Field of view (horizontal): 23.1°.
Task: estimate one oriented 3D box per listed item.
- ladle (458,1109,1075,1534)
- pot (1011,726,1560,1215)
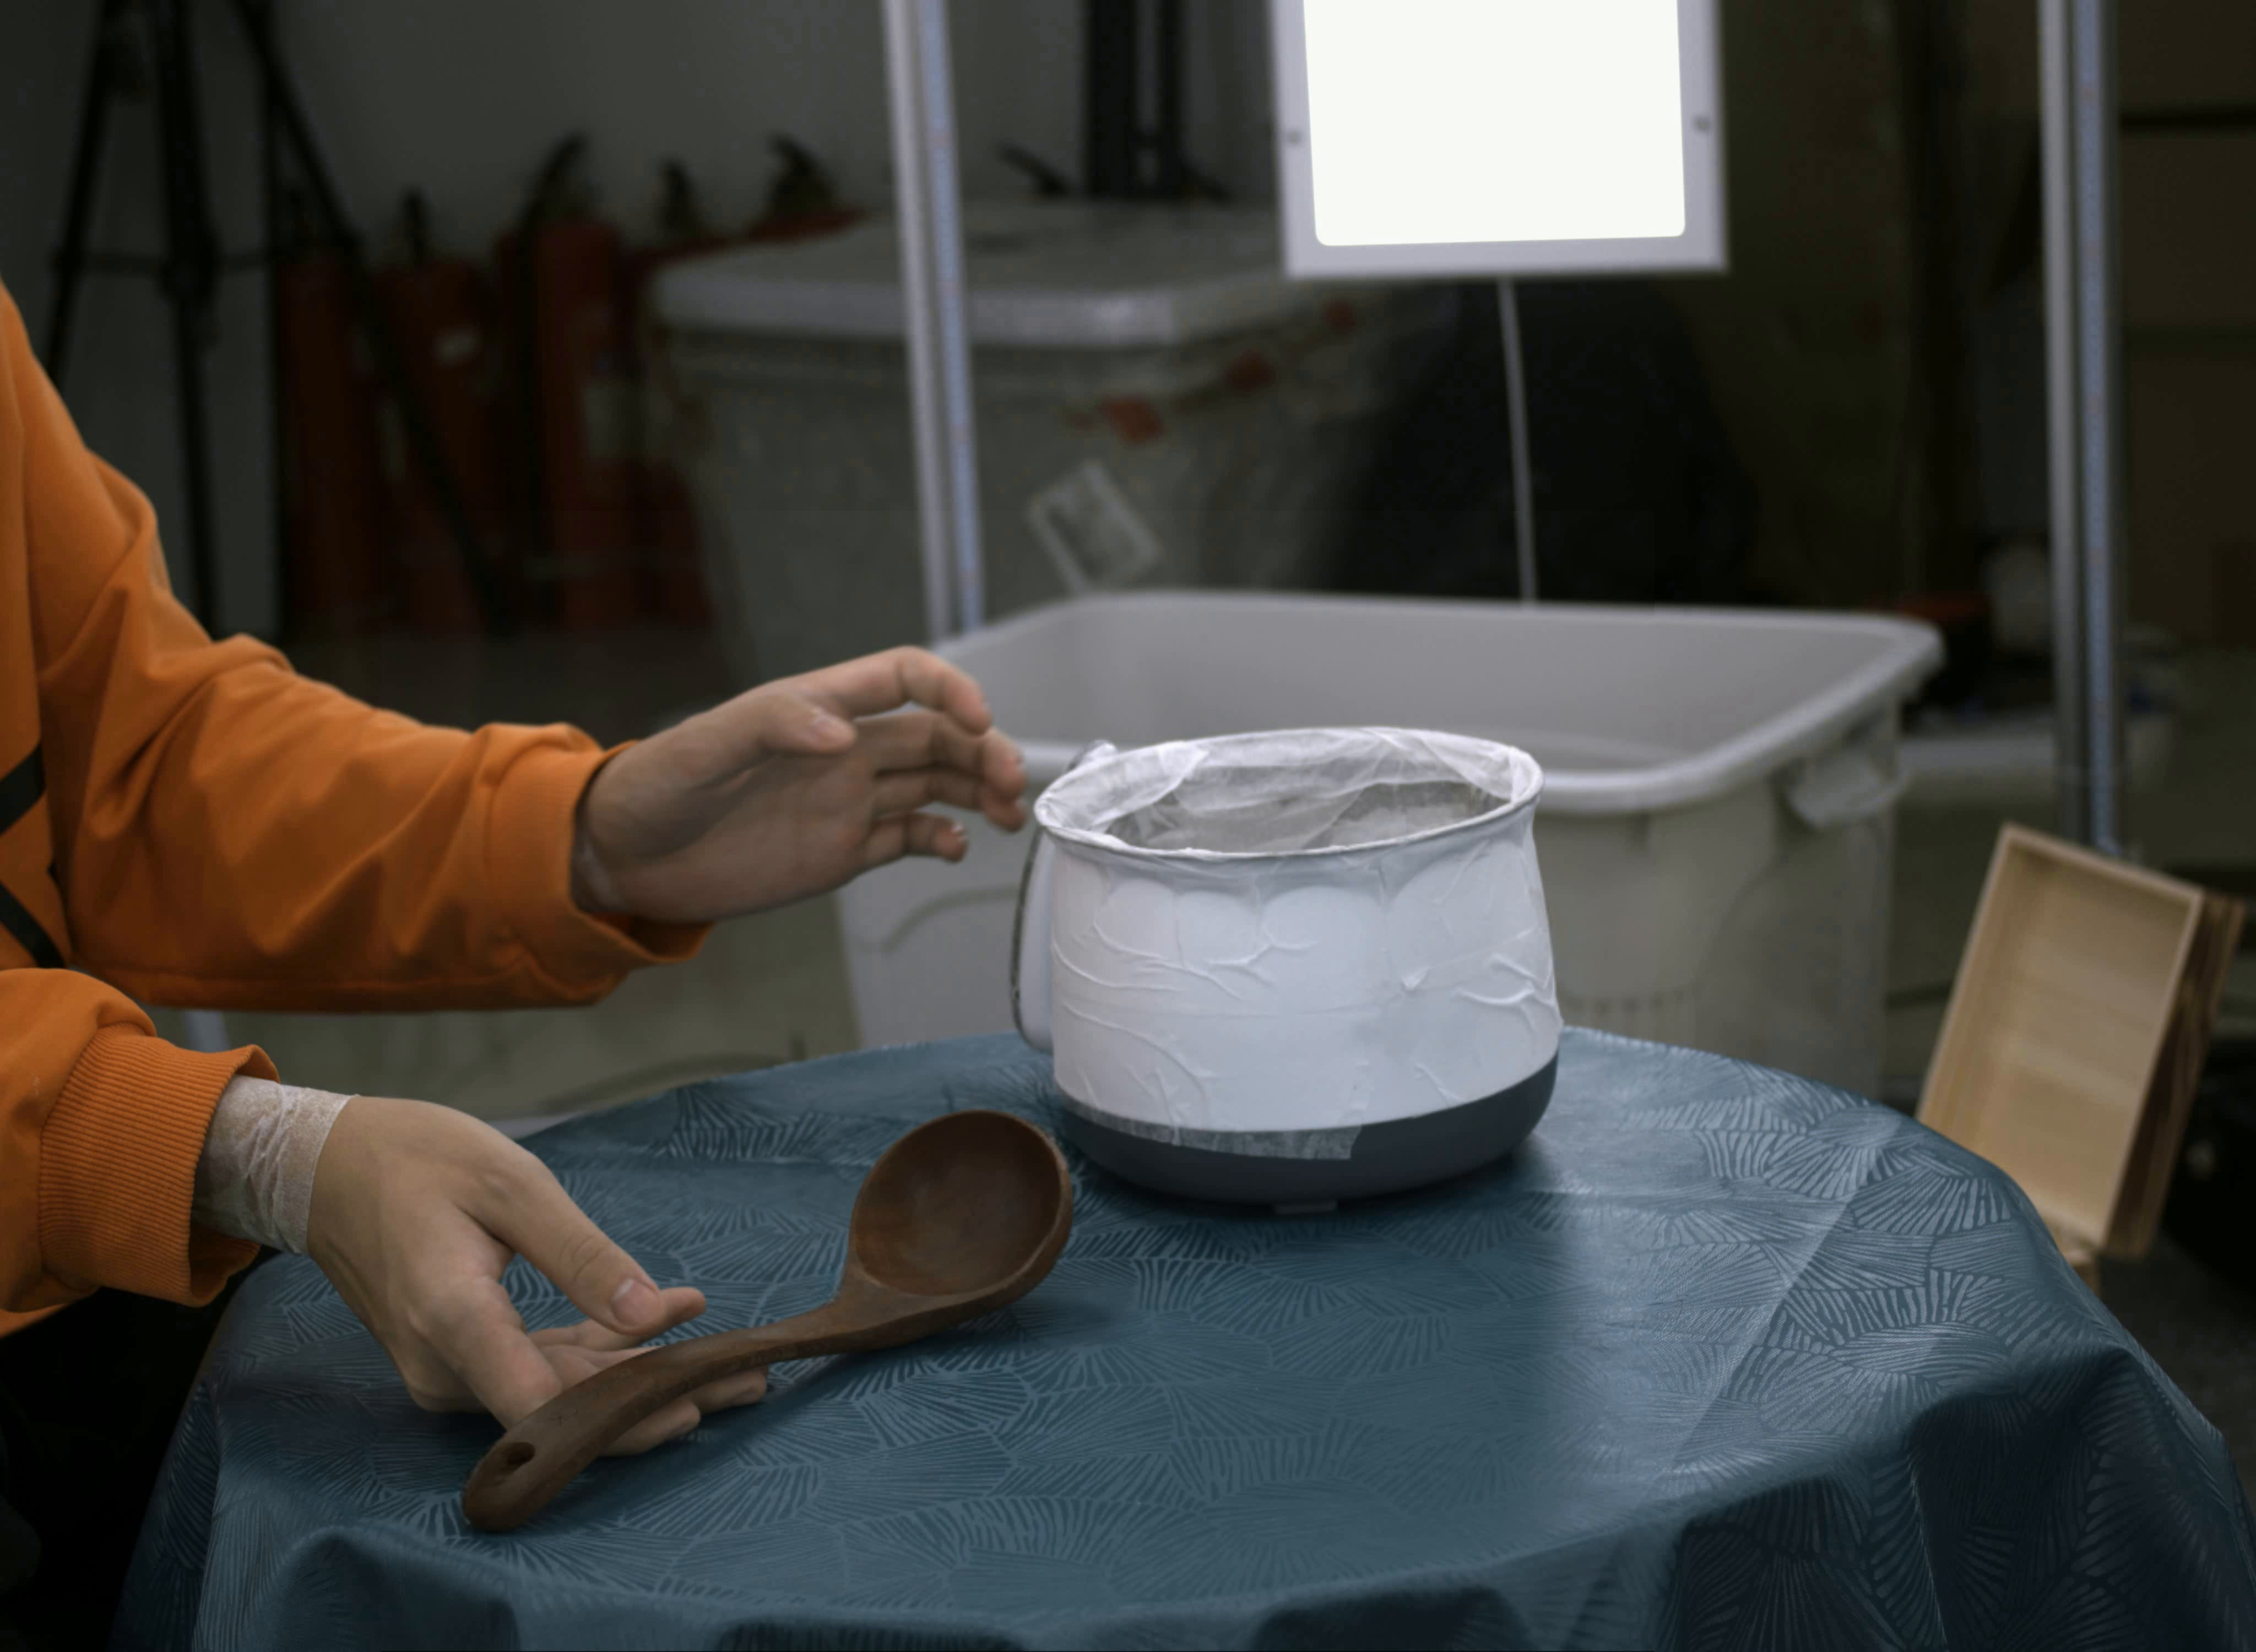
[{"bbox_3d":[-0.113,0.150,1.709,0.078,0.065,0.253,14,22,37],"label":"ladle"},{"bbox_3d":[0.041,0.045,1.927,0.174,0.137,0.239,-16,18,-39],"label":"pot"}]
